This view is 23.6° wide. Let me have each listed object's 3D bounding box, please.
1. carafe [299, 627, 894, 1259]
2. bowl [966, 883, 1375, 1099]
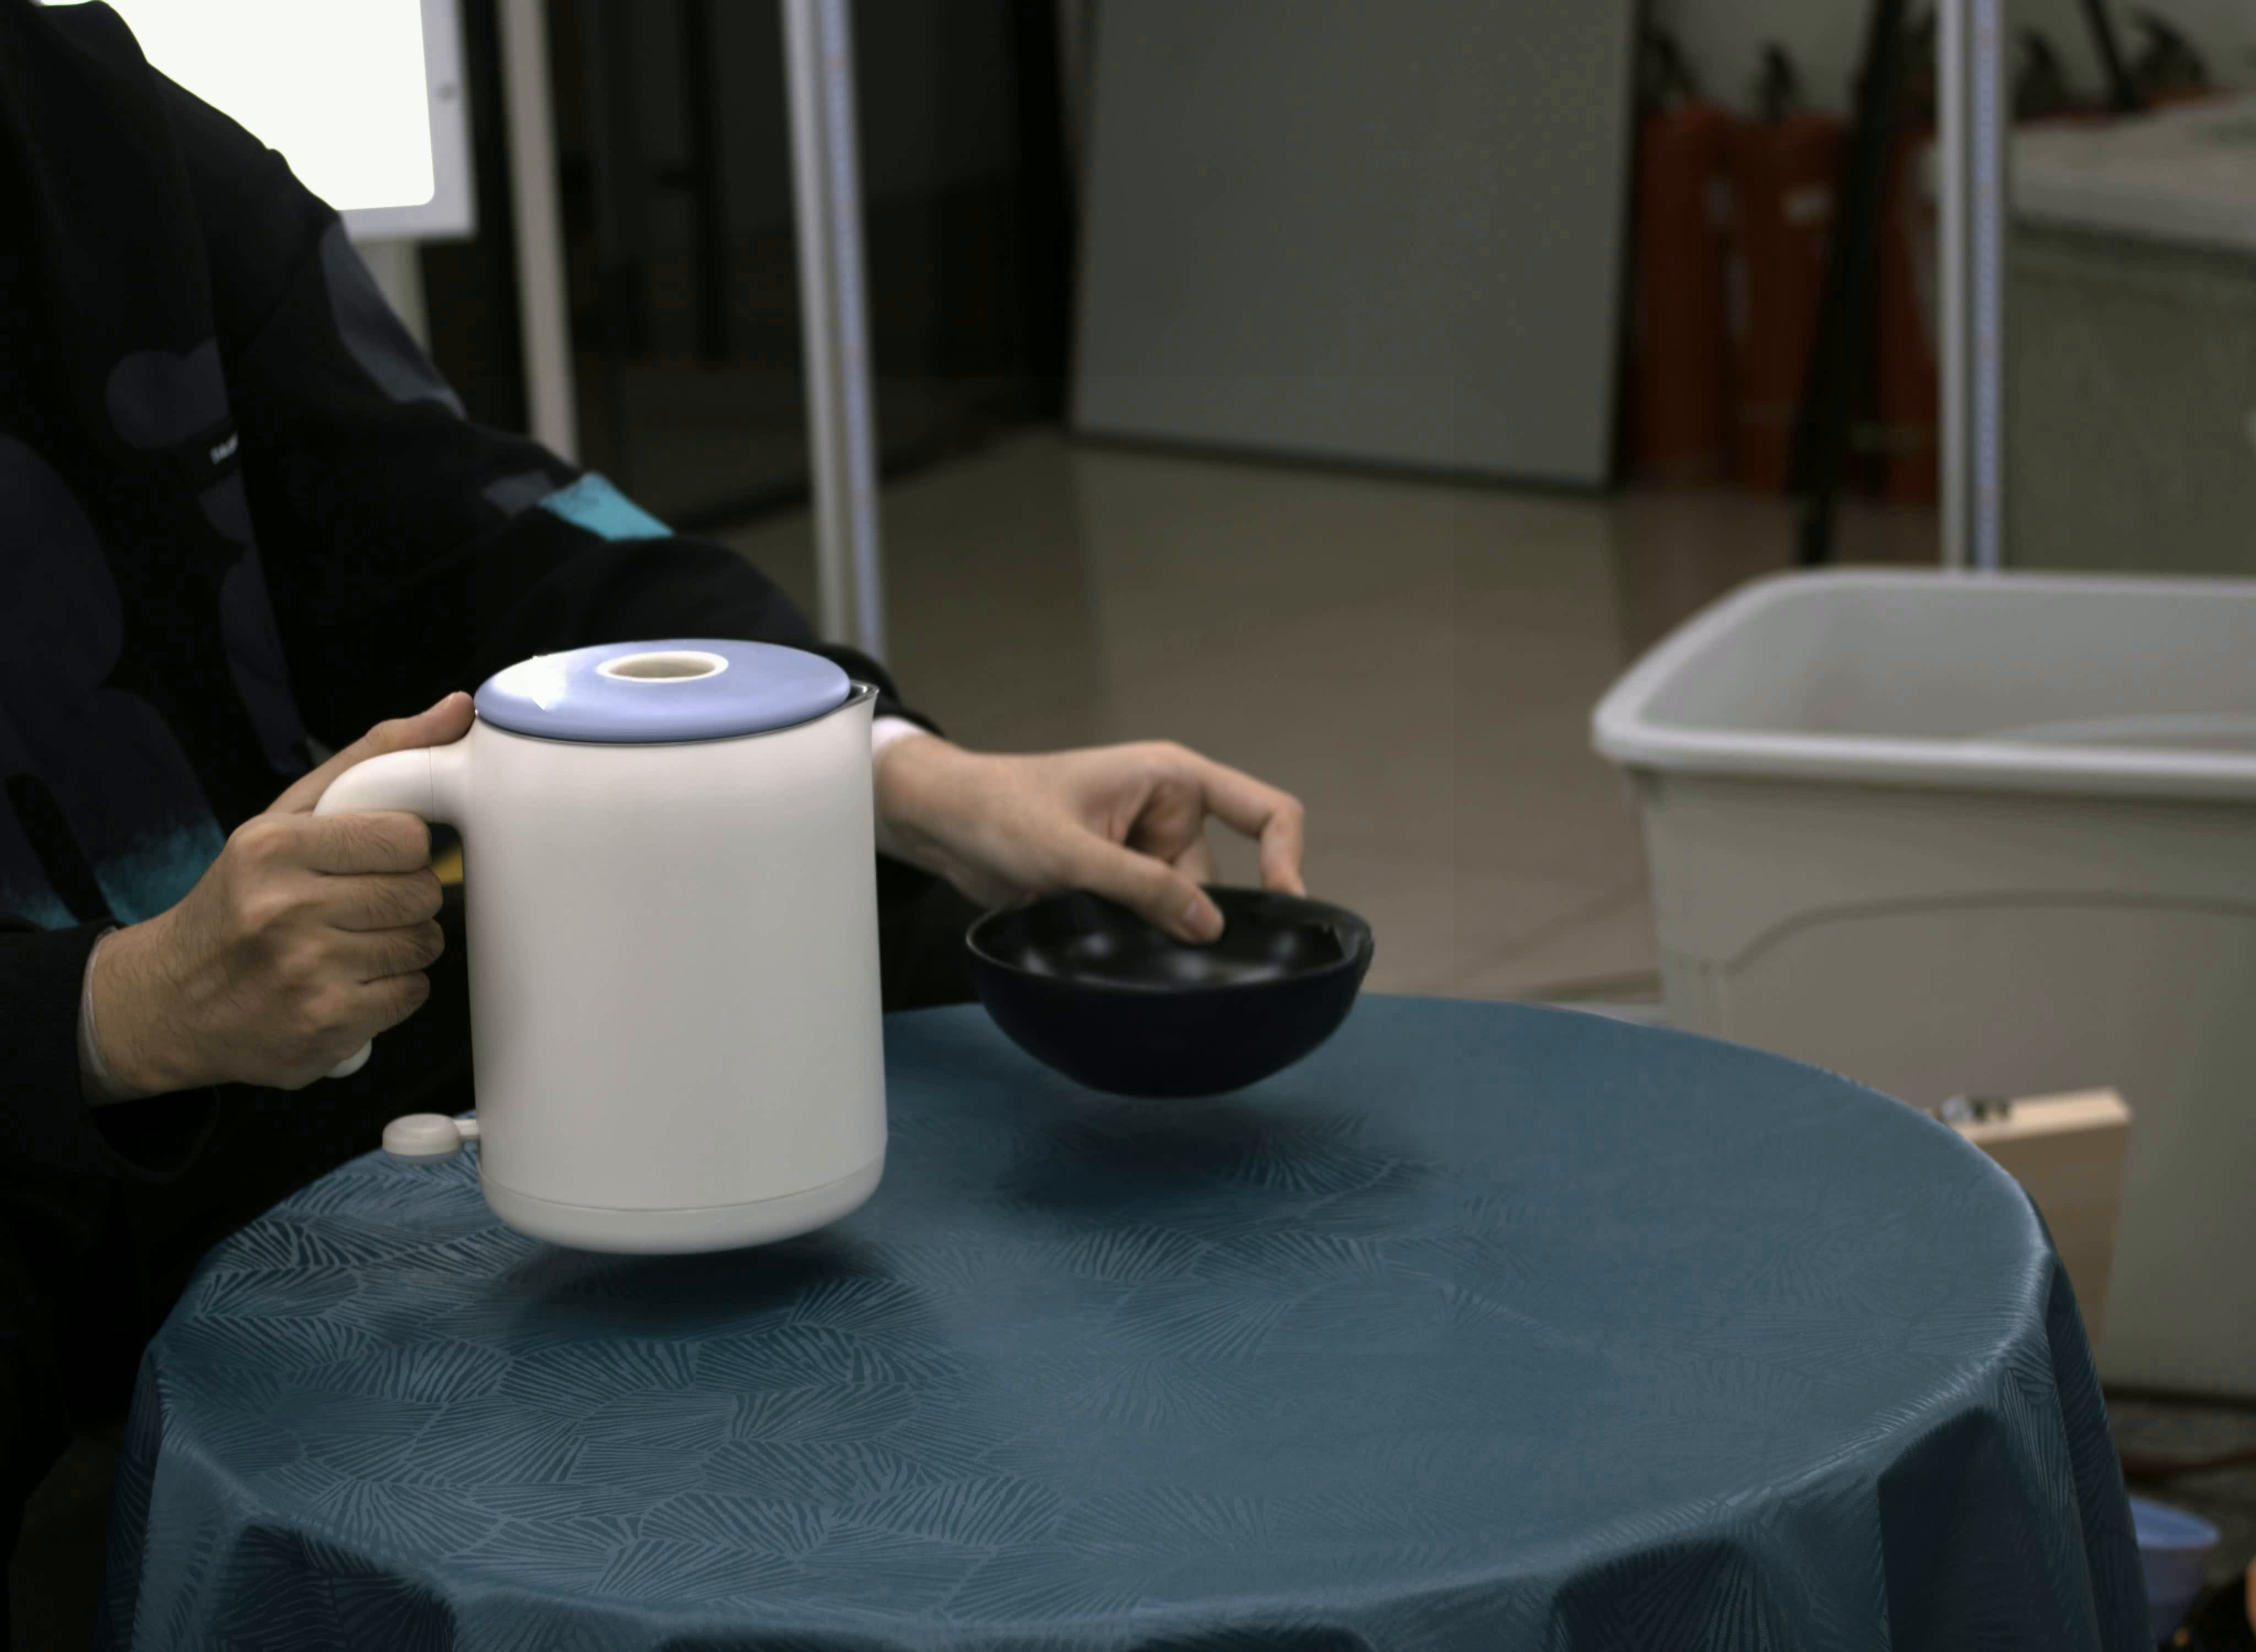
[{"bbox_3d":[-0.166,0.038,1.698,0.188,0.184,0.133,-7,12,-8],"label":"carafe"},{"bbox_3d":[0.015,0.059,1.810,0.138,0.050,0.140,-3,12,0],"label":"bowl"}]
